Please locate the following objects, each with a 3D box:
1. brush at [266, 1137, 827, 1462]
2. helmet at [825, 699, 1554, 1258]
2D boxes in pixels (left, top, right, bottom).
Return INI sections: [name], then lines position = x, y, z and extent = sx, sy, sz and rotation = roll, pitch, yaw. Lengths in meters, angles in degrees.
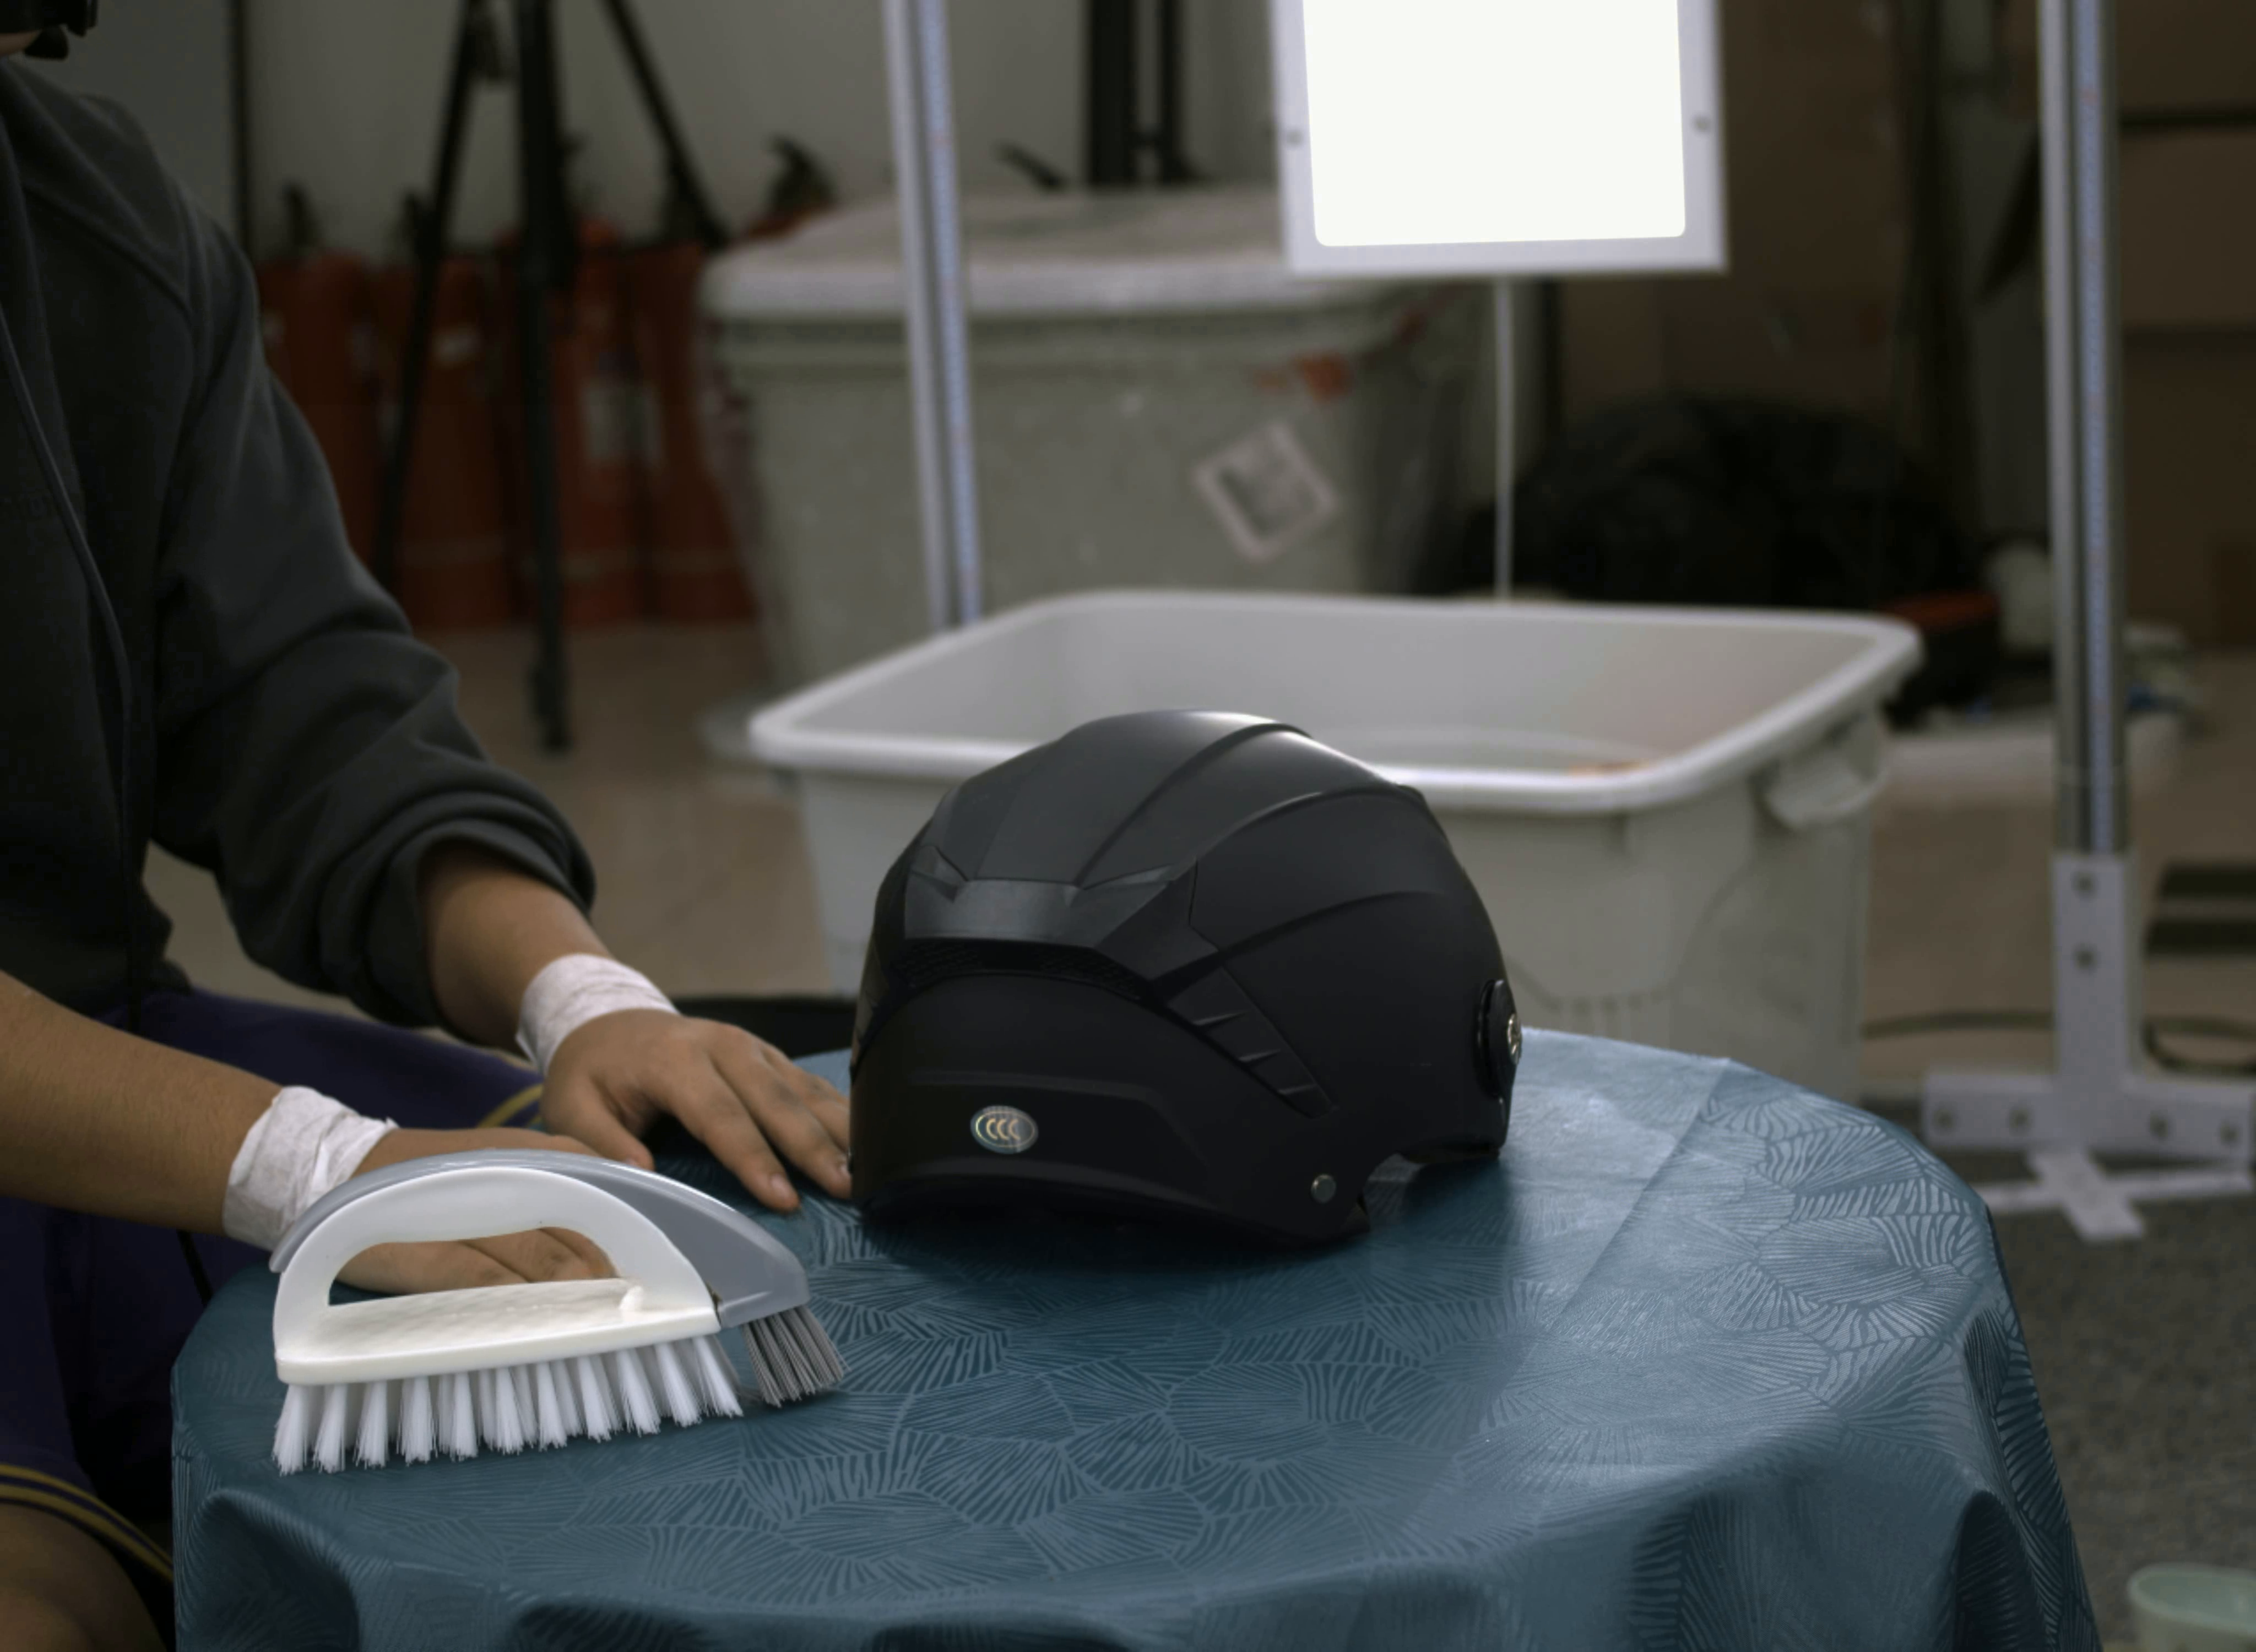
[brush]
position = -0.182, 0.140, 1.713
extent = 0.175, 0.094, 0.061
rotation = -3, 17, -2
[helmet]
position = 0.018, 0.042, 1.901
extent = 0.251, 0.173, 0.271
rotation = 3, 20, 28
